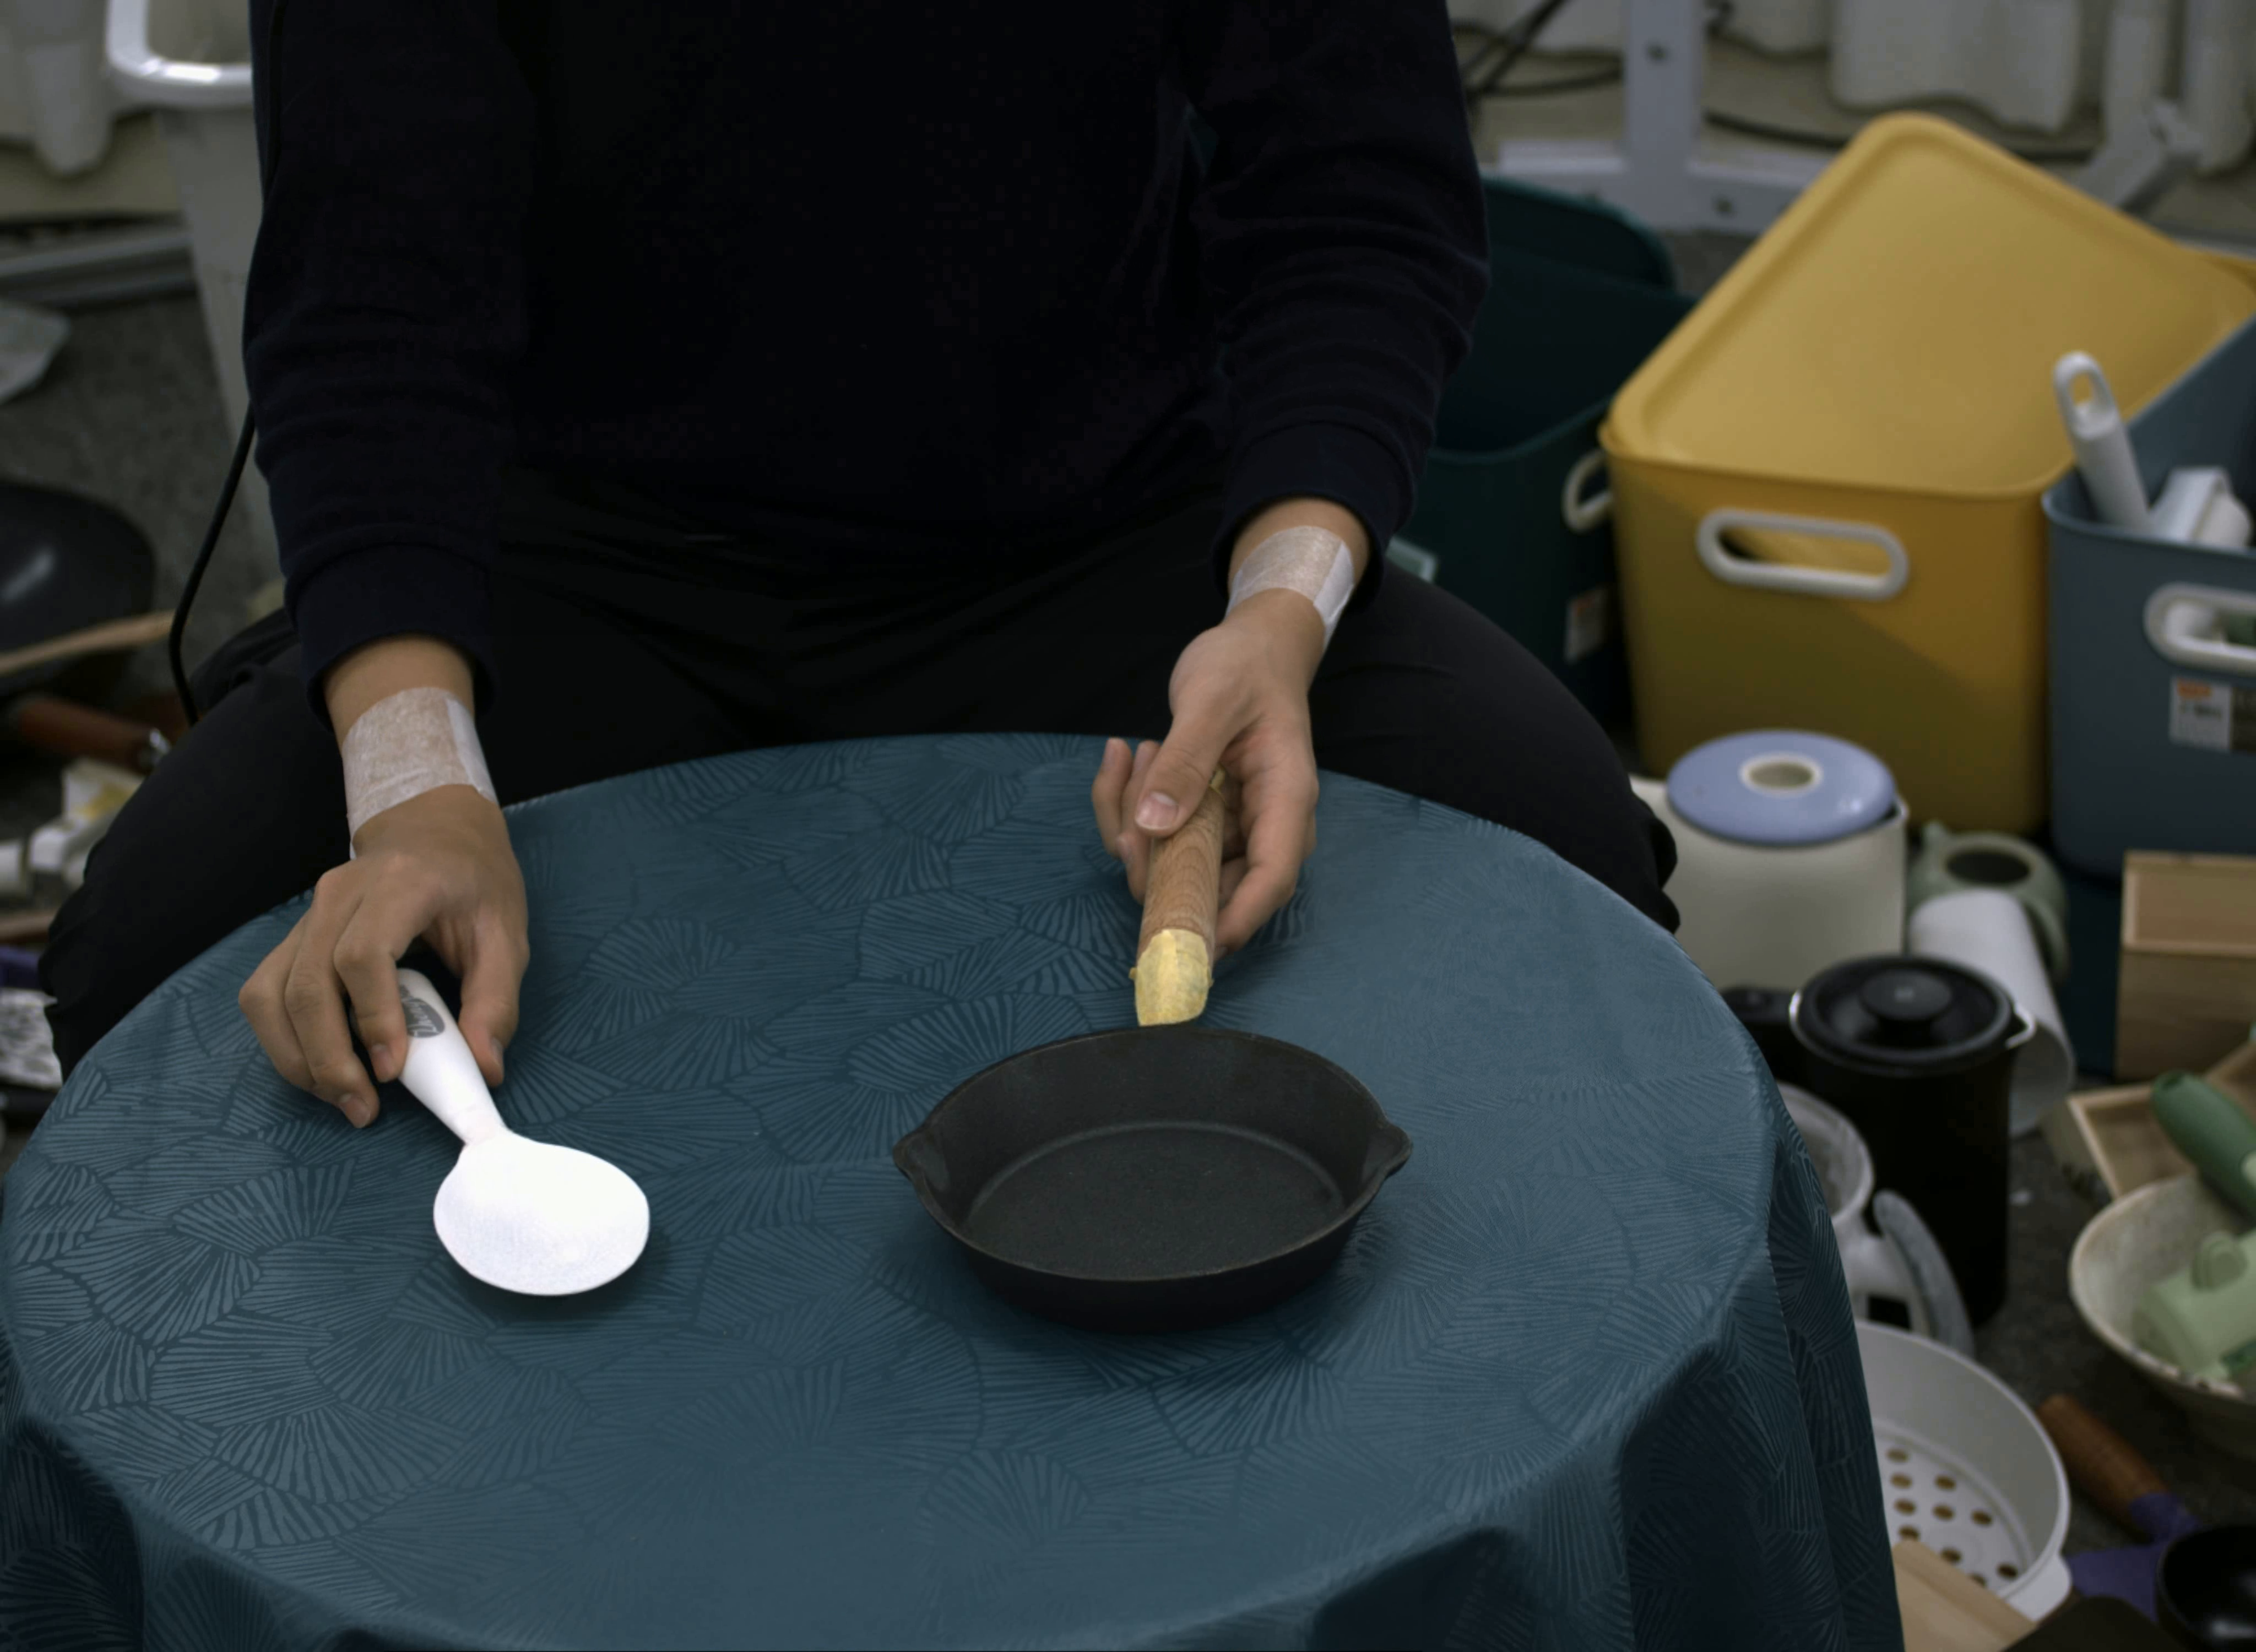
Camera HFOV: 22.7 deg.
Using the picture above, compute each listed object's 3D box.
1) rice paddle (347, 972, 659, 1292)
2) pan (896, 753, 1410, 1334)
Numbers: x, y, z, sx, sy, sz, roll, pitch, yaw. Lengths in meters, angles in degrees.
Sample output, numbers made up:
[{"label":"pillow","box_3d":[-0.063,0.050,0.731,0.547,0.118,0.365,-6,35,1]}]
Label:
[{"label":"rice paddle","box_3d":[-0.215,0.105,1.885,0.069,0.029,0.206,-17,30,-20]},{"label":"pan","box_3d":[0.016,0.071,1.904,0.168,0.049,0.330,0,29,6]}]
